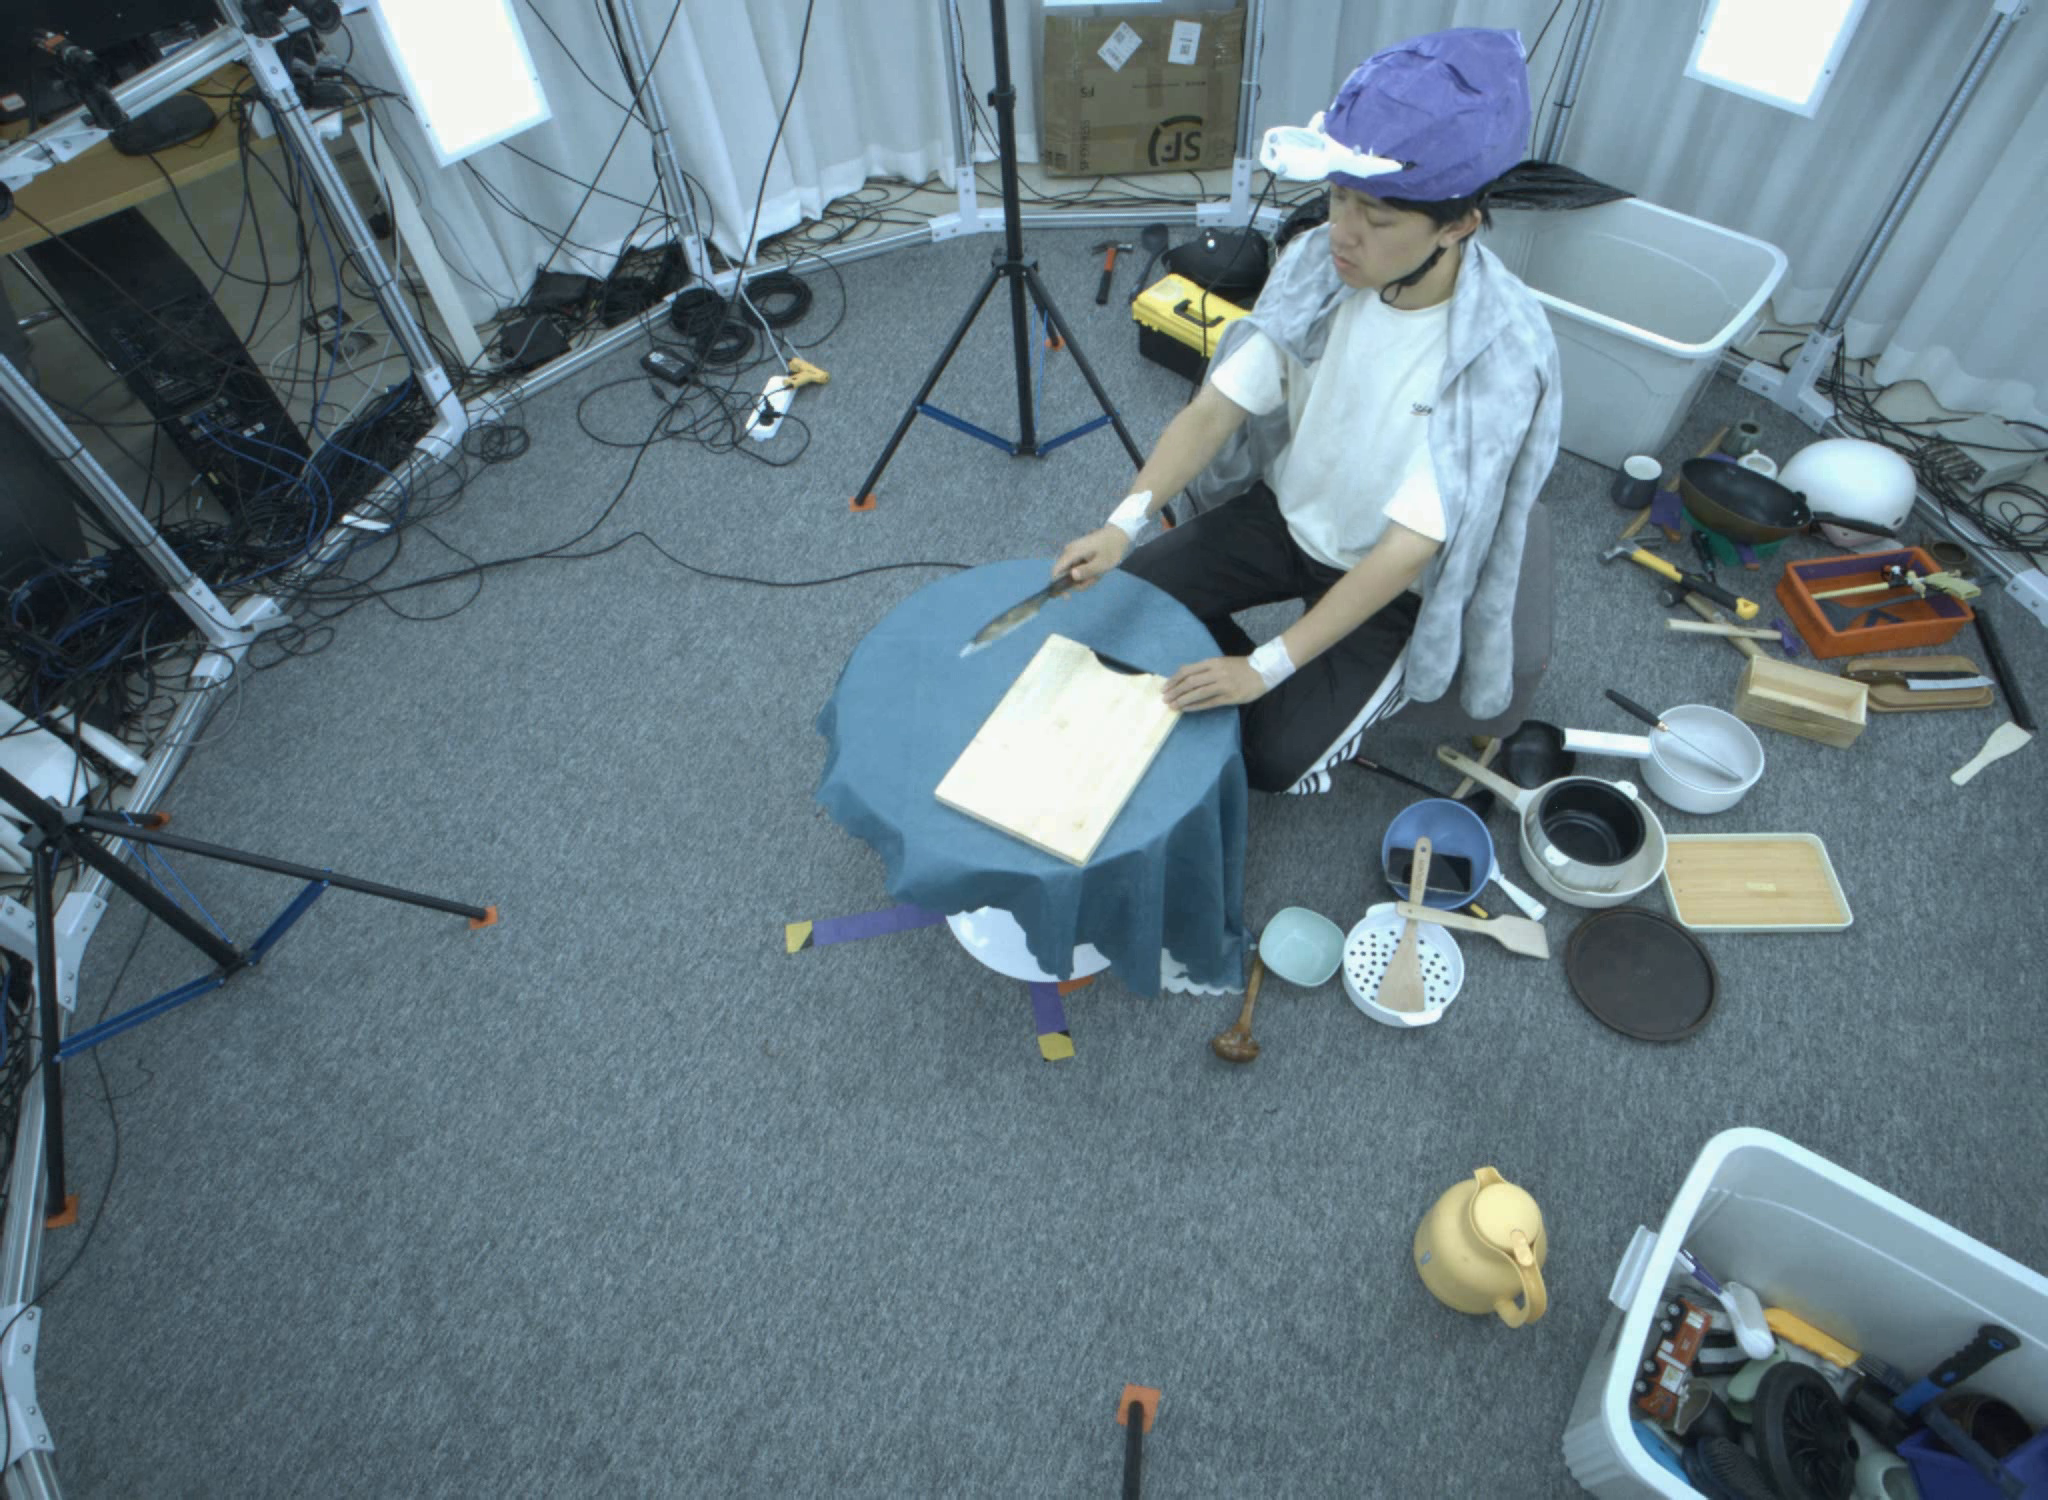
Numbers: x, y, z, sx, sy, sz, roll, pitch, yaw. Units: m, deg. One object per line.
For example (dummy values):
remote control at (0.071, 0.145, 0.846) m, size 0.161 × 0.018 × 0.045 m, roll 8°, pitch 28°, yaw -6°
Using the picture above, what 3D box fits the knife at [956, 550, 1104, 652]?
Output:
knife at (0.011, -0.217, 1.786) m, size 0.024 × 0.068 × 0.303 m, roll 48°, pitch 52°, yaw 9°

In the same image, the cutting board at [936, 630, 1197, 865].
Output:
cutting board at (0.065, -0.014, 1.788) m, size 0.247 × 0.024 × 0.349 m, roll 24°, pitch 59°, yaw 17°
